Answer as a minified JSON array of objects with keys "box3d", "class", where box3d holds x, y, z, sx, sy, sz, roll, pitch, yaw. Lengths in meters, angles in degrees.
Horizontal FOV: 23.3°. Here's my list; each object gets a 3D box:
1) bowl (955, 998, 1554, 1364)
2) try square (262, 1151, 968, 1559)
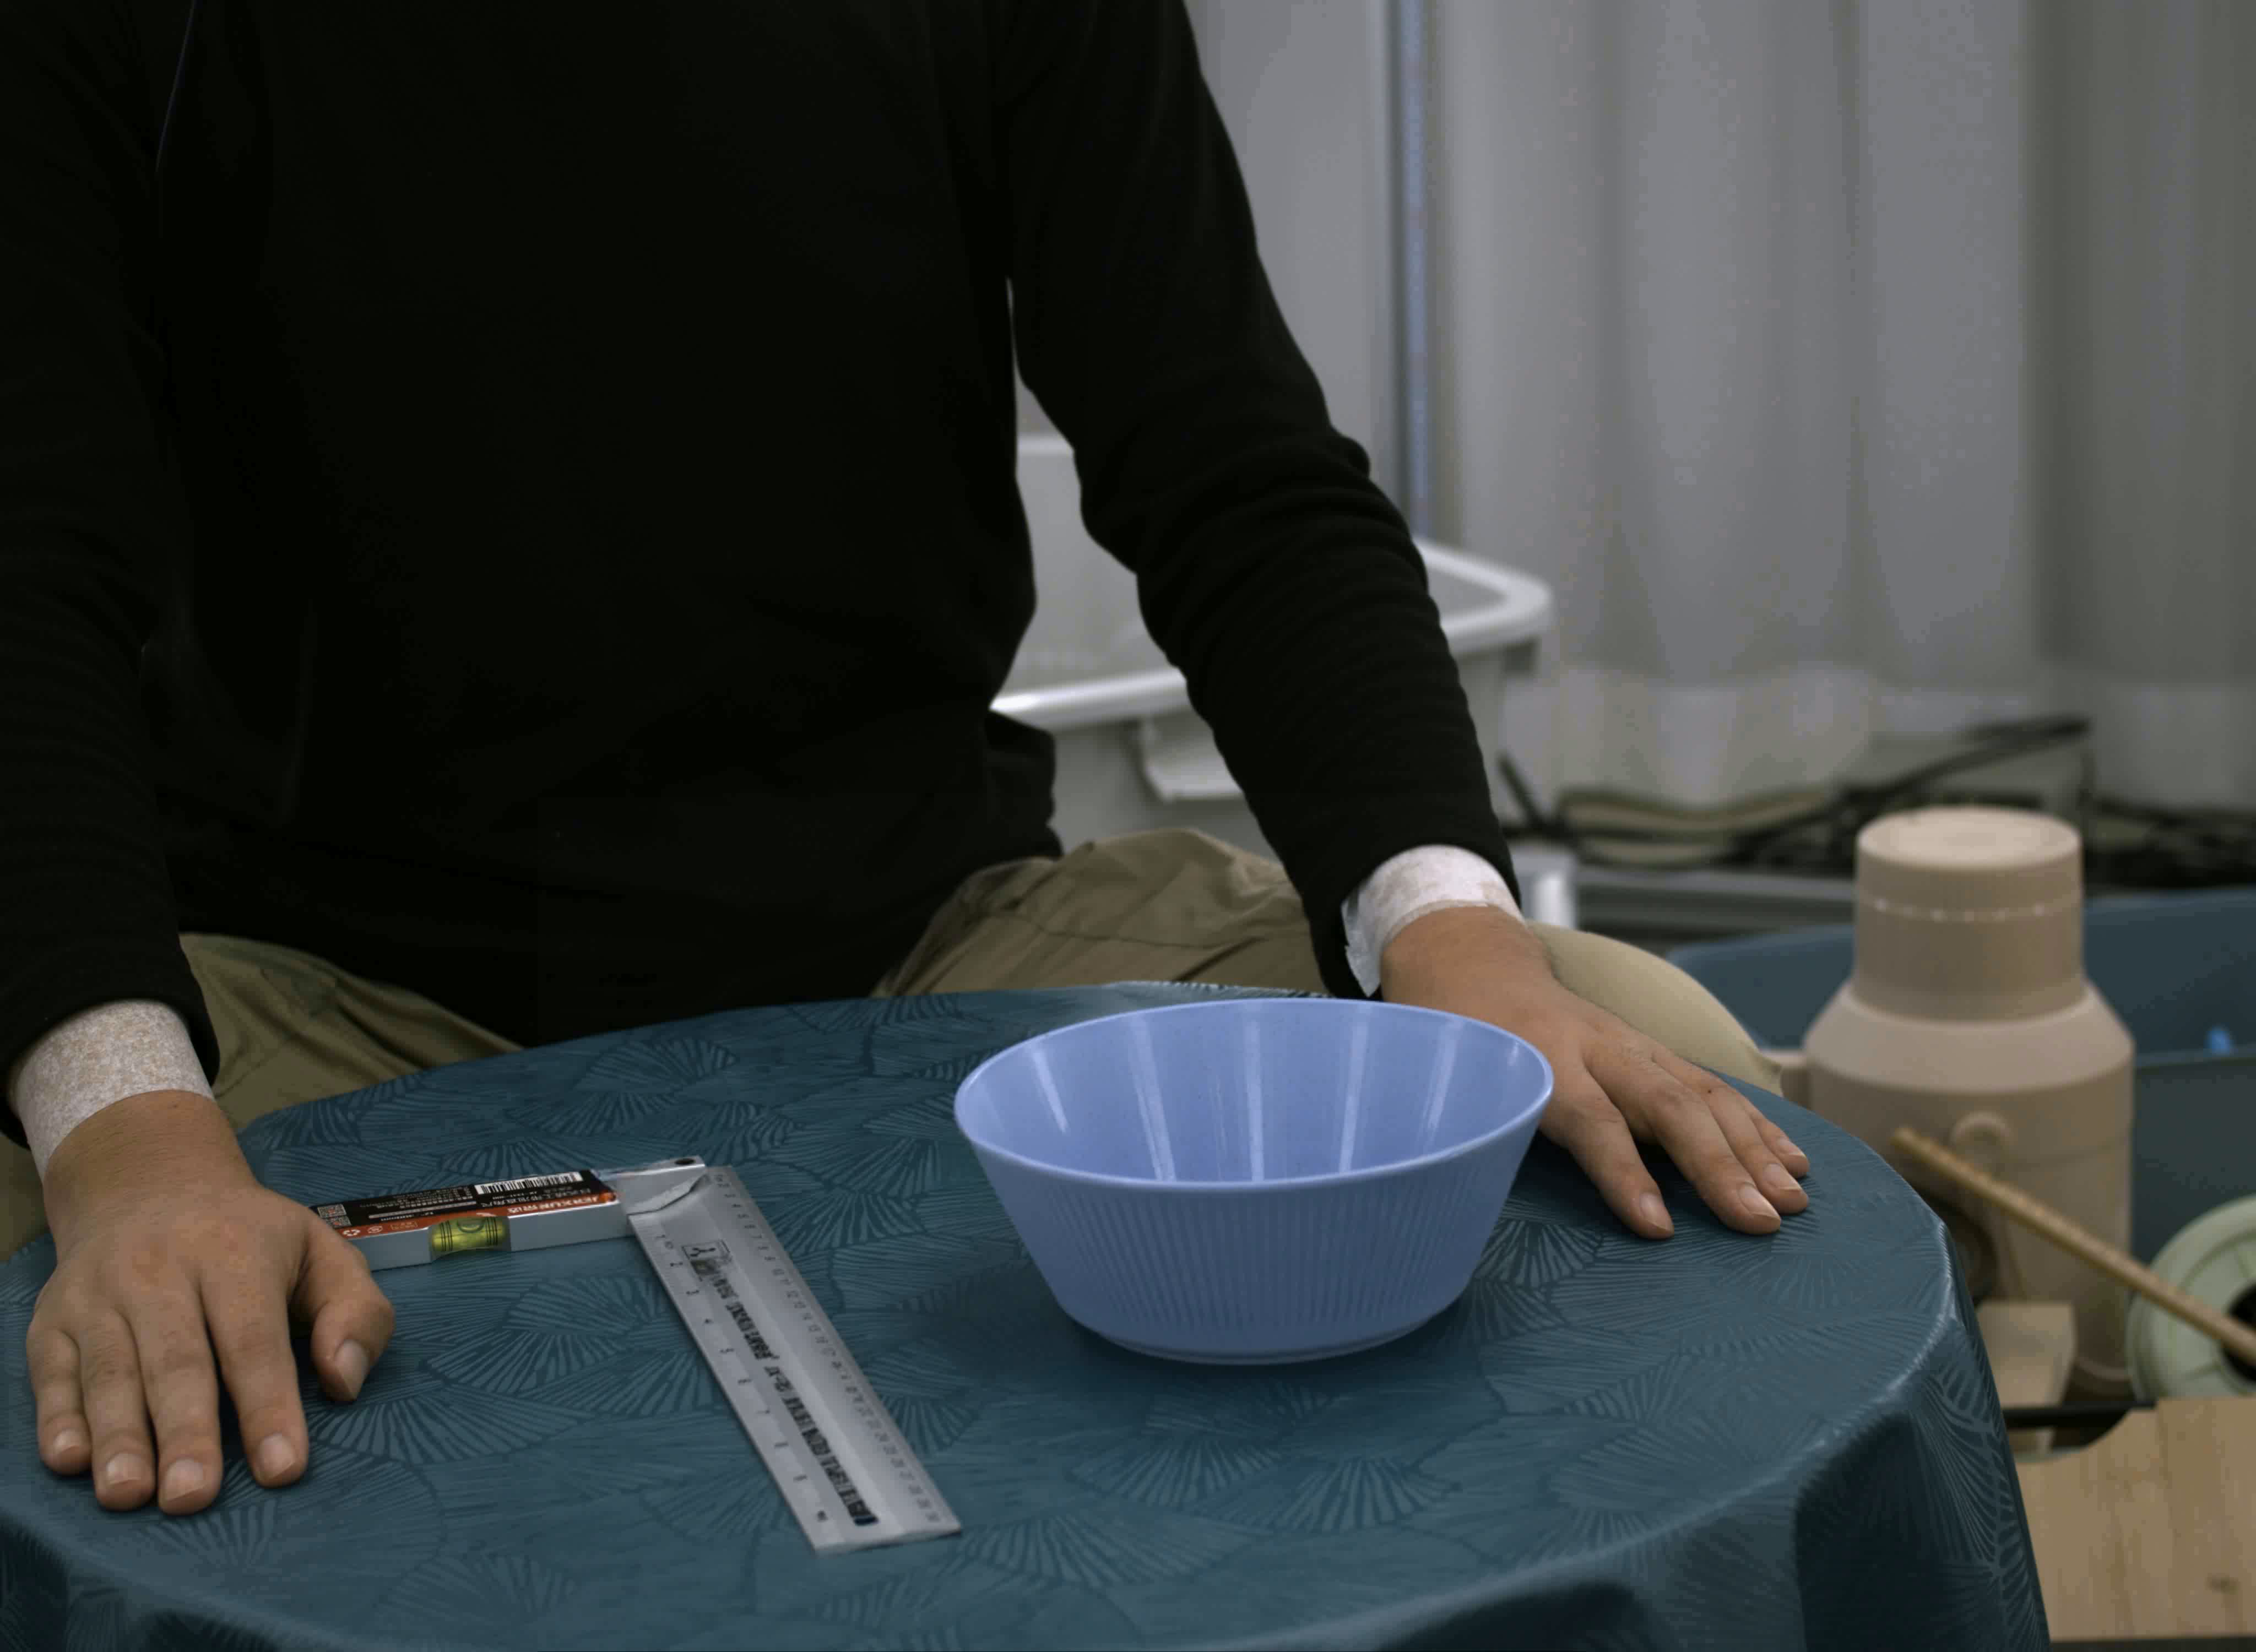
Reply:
[{"box3d":[0.038,0.107,1.602,0.175,0.070,0.177,-3,15,1],"class":"bowl"},{"box3d":[-0.156,0.159,1.576,0.152,0.016,0.315,-11,17,-13],"class":"try square"}]
